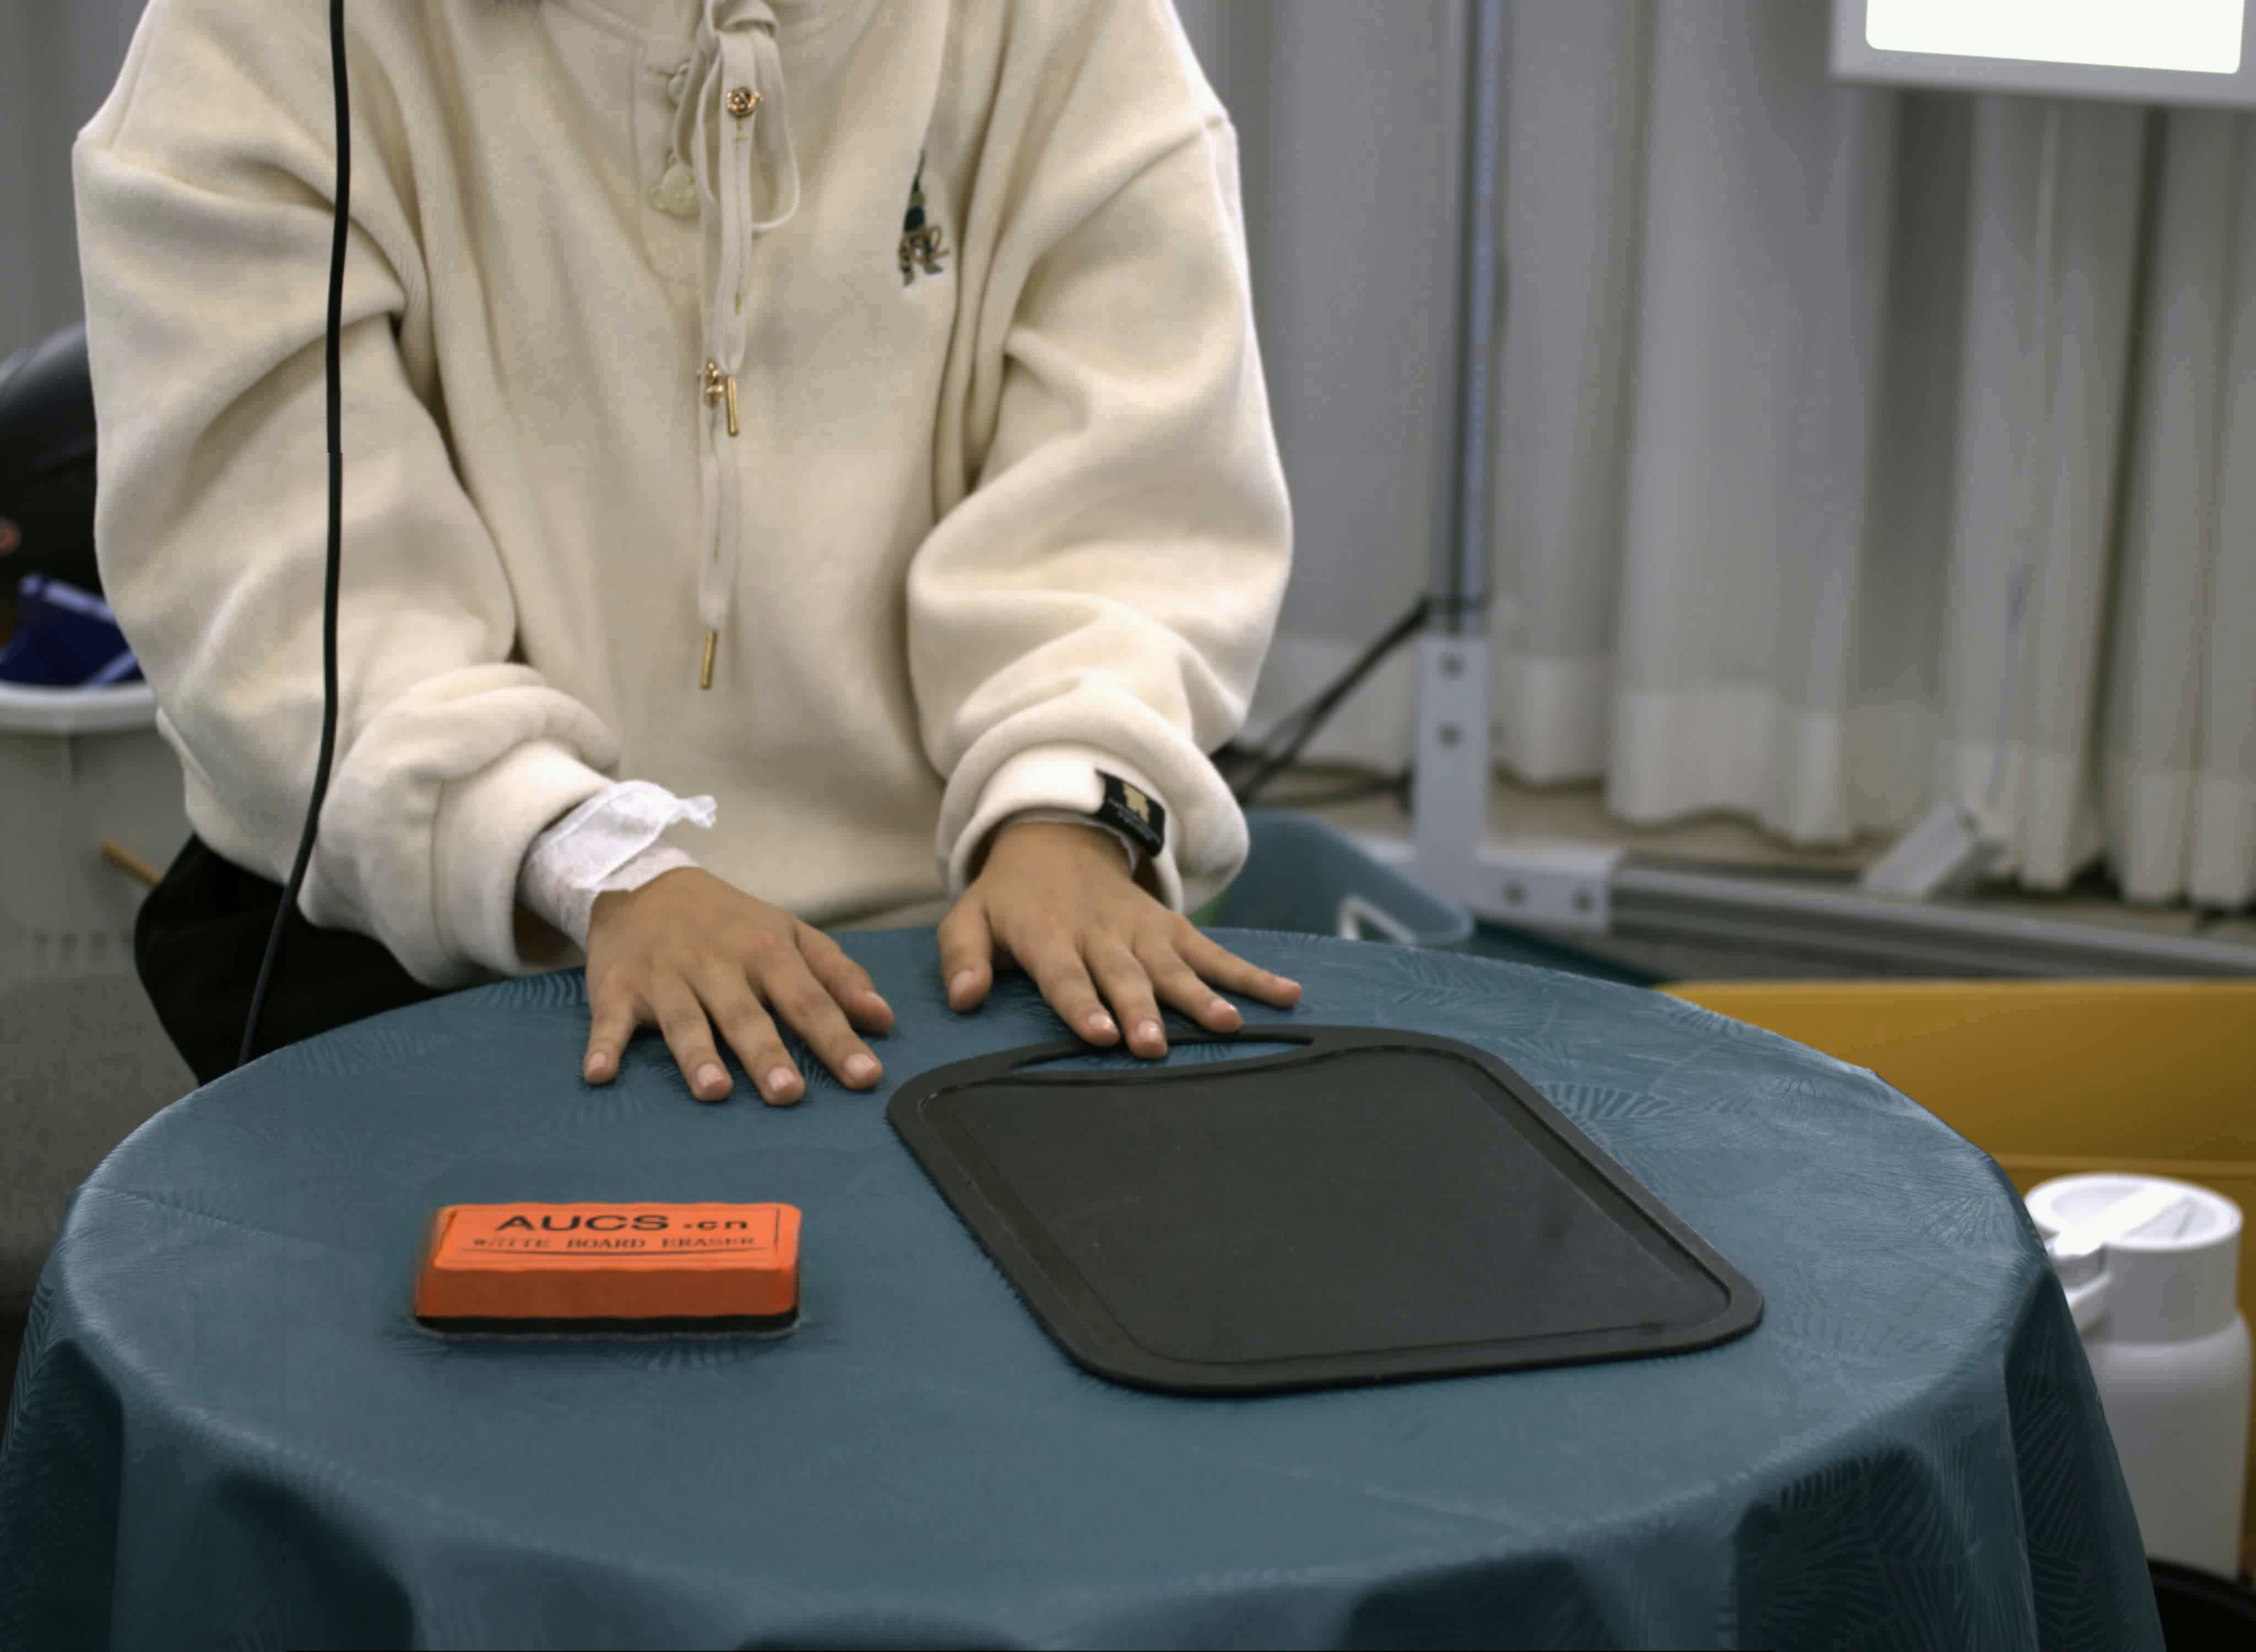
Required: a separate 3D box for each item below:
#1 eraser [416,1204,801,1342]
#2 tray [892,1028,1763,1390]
[{"bbox_3d":[-0.149,0.128,1.515,0.108,0.023,0.058,1,16,-2],"label":"eraser"},{"bbox_3d":[0.050,0.110,1.619,0.211,0.010,0.322,-4,16,-15],"label":"tray"}]
